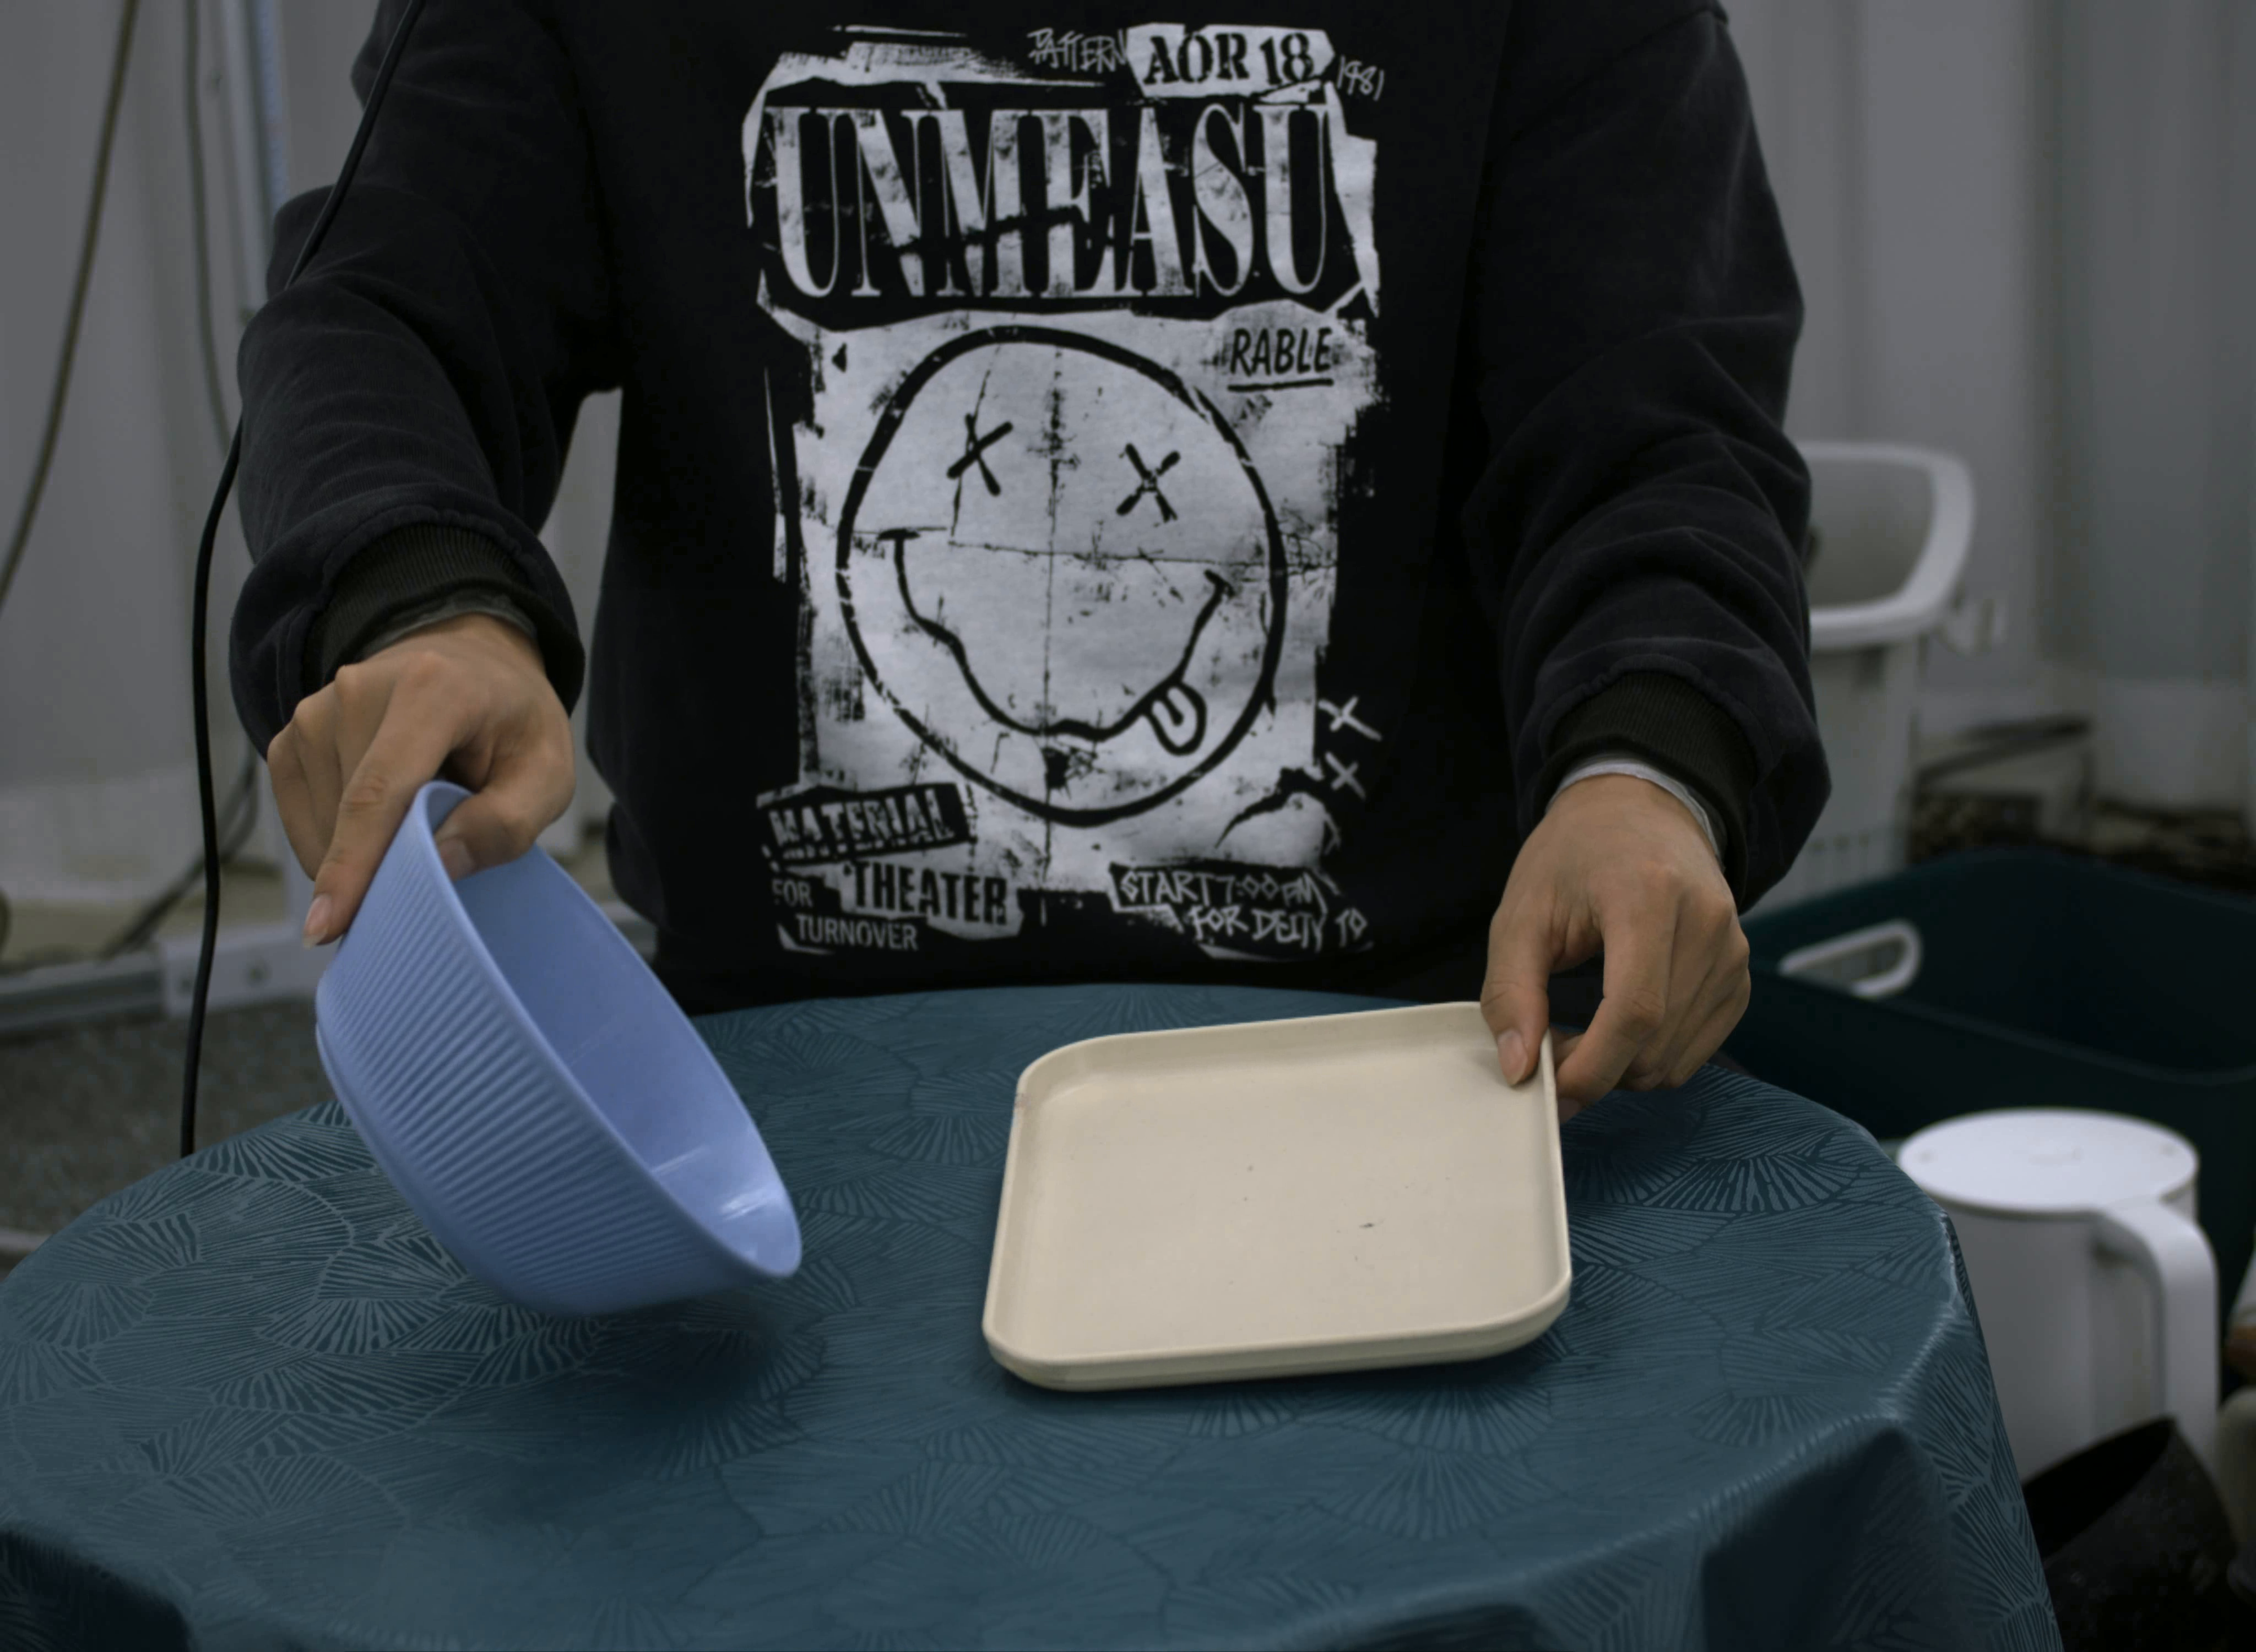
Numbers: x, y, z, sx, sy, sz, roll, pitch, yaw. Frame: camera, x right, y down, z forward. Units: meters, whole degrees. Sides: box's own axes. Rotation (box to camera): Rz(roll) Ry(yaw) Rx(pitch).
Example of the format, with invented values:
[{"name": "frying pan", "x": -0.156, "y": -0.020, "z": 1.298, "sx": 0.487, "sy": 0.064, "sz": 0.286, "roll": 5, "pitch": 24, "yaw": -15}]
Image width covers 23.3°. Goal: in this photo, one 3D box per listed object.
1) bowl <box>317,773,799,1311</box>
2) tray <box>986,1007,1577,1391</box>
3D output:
[{"name": "bowl", "x": -0.173, "y": 0.073, "z": 1.575, "sx": 0.070, "sy": 0.175, "sz": 0.177, "roll": -37, "pitch": 14, "yaw": 6}, {"name": "tray", "x": 0.047, "y": 0.111, "z": 1.640, "sx": 0.171, "sy": 0.017, "sz": 0.242, "roll": -5, "pitch": 20, "yaw": 4}]
